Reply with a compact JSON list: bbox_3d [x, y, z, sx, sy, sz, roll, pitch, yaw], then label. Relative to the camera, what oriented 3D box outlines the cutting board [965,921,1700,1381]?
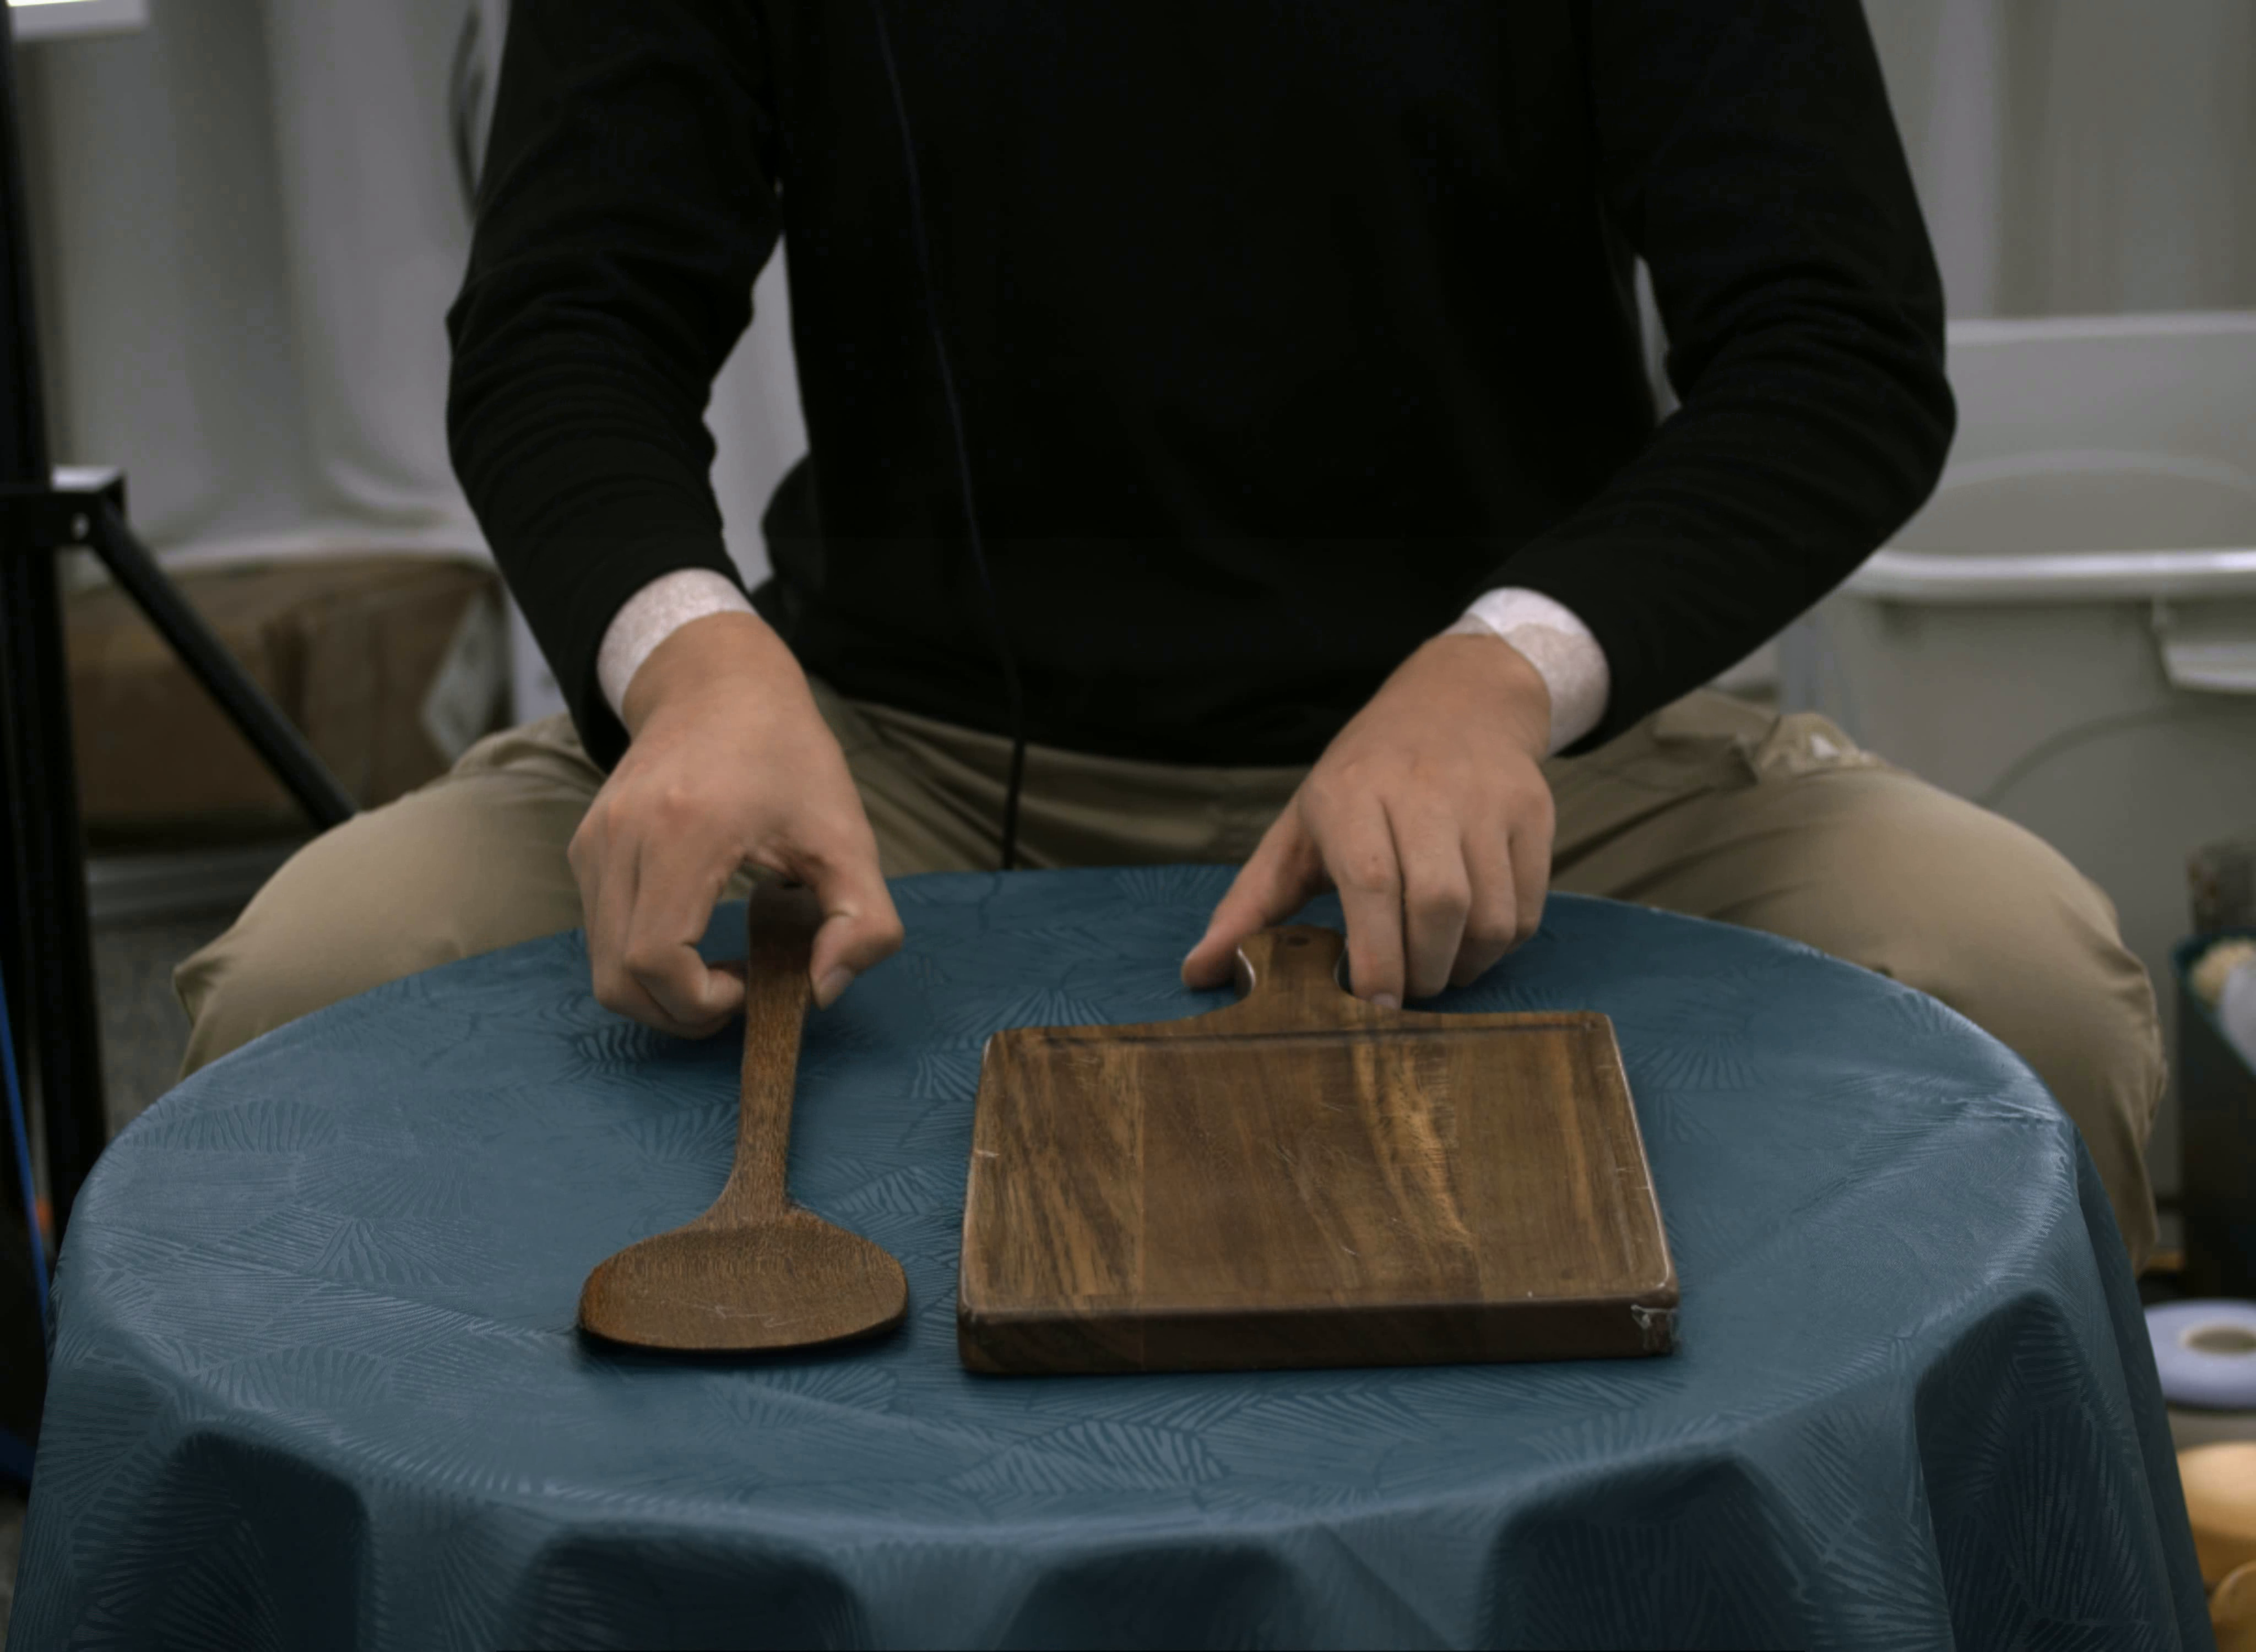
[{"bbox_3d":[0.053,0.089,1.578,0.200,0.023,0.353,-2,16,1],"label":"cutting board"}]

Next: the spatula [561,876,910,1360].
[{"bbox_3d":[-0.110,0.081,1.618,0.095,0.016,0.388,-2,19,0],"label":"spatula"}]
